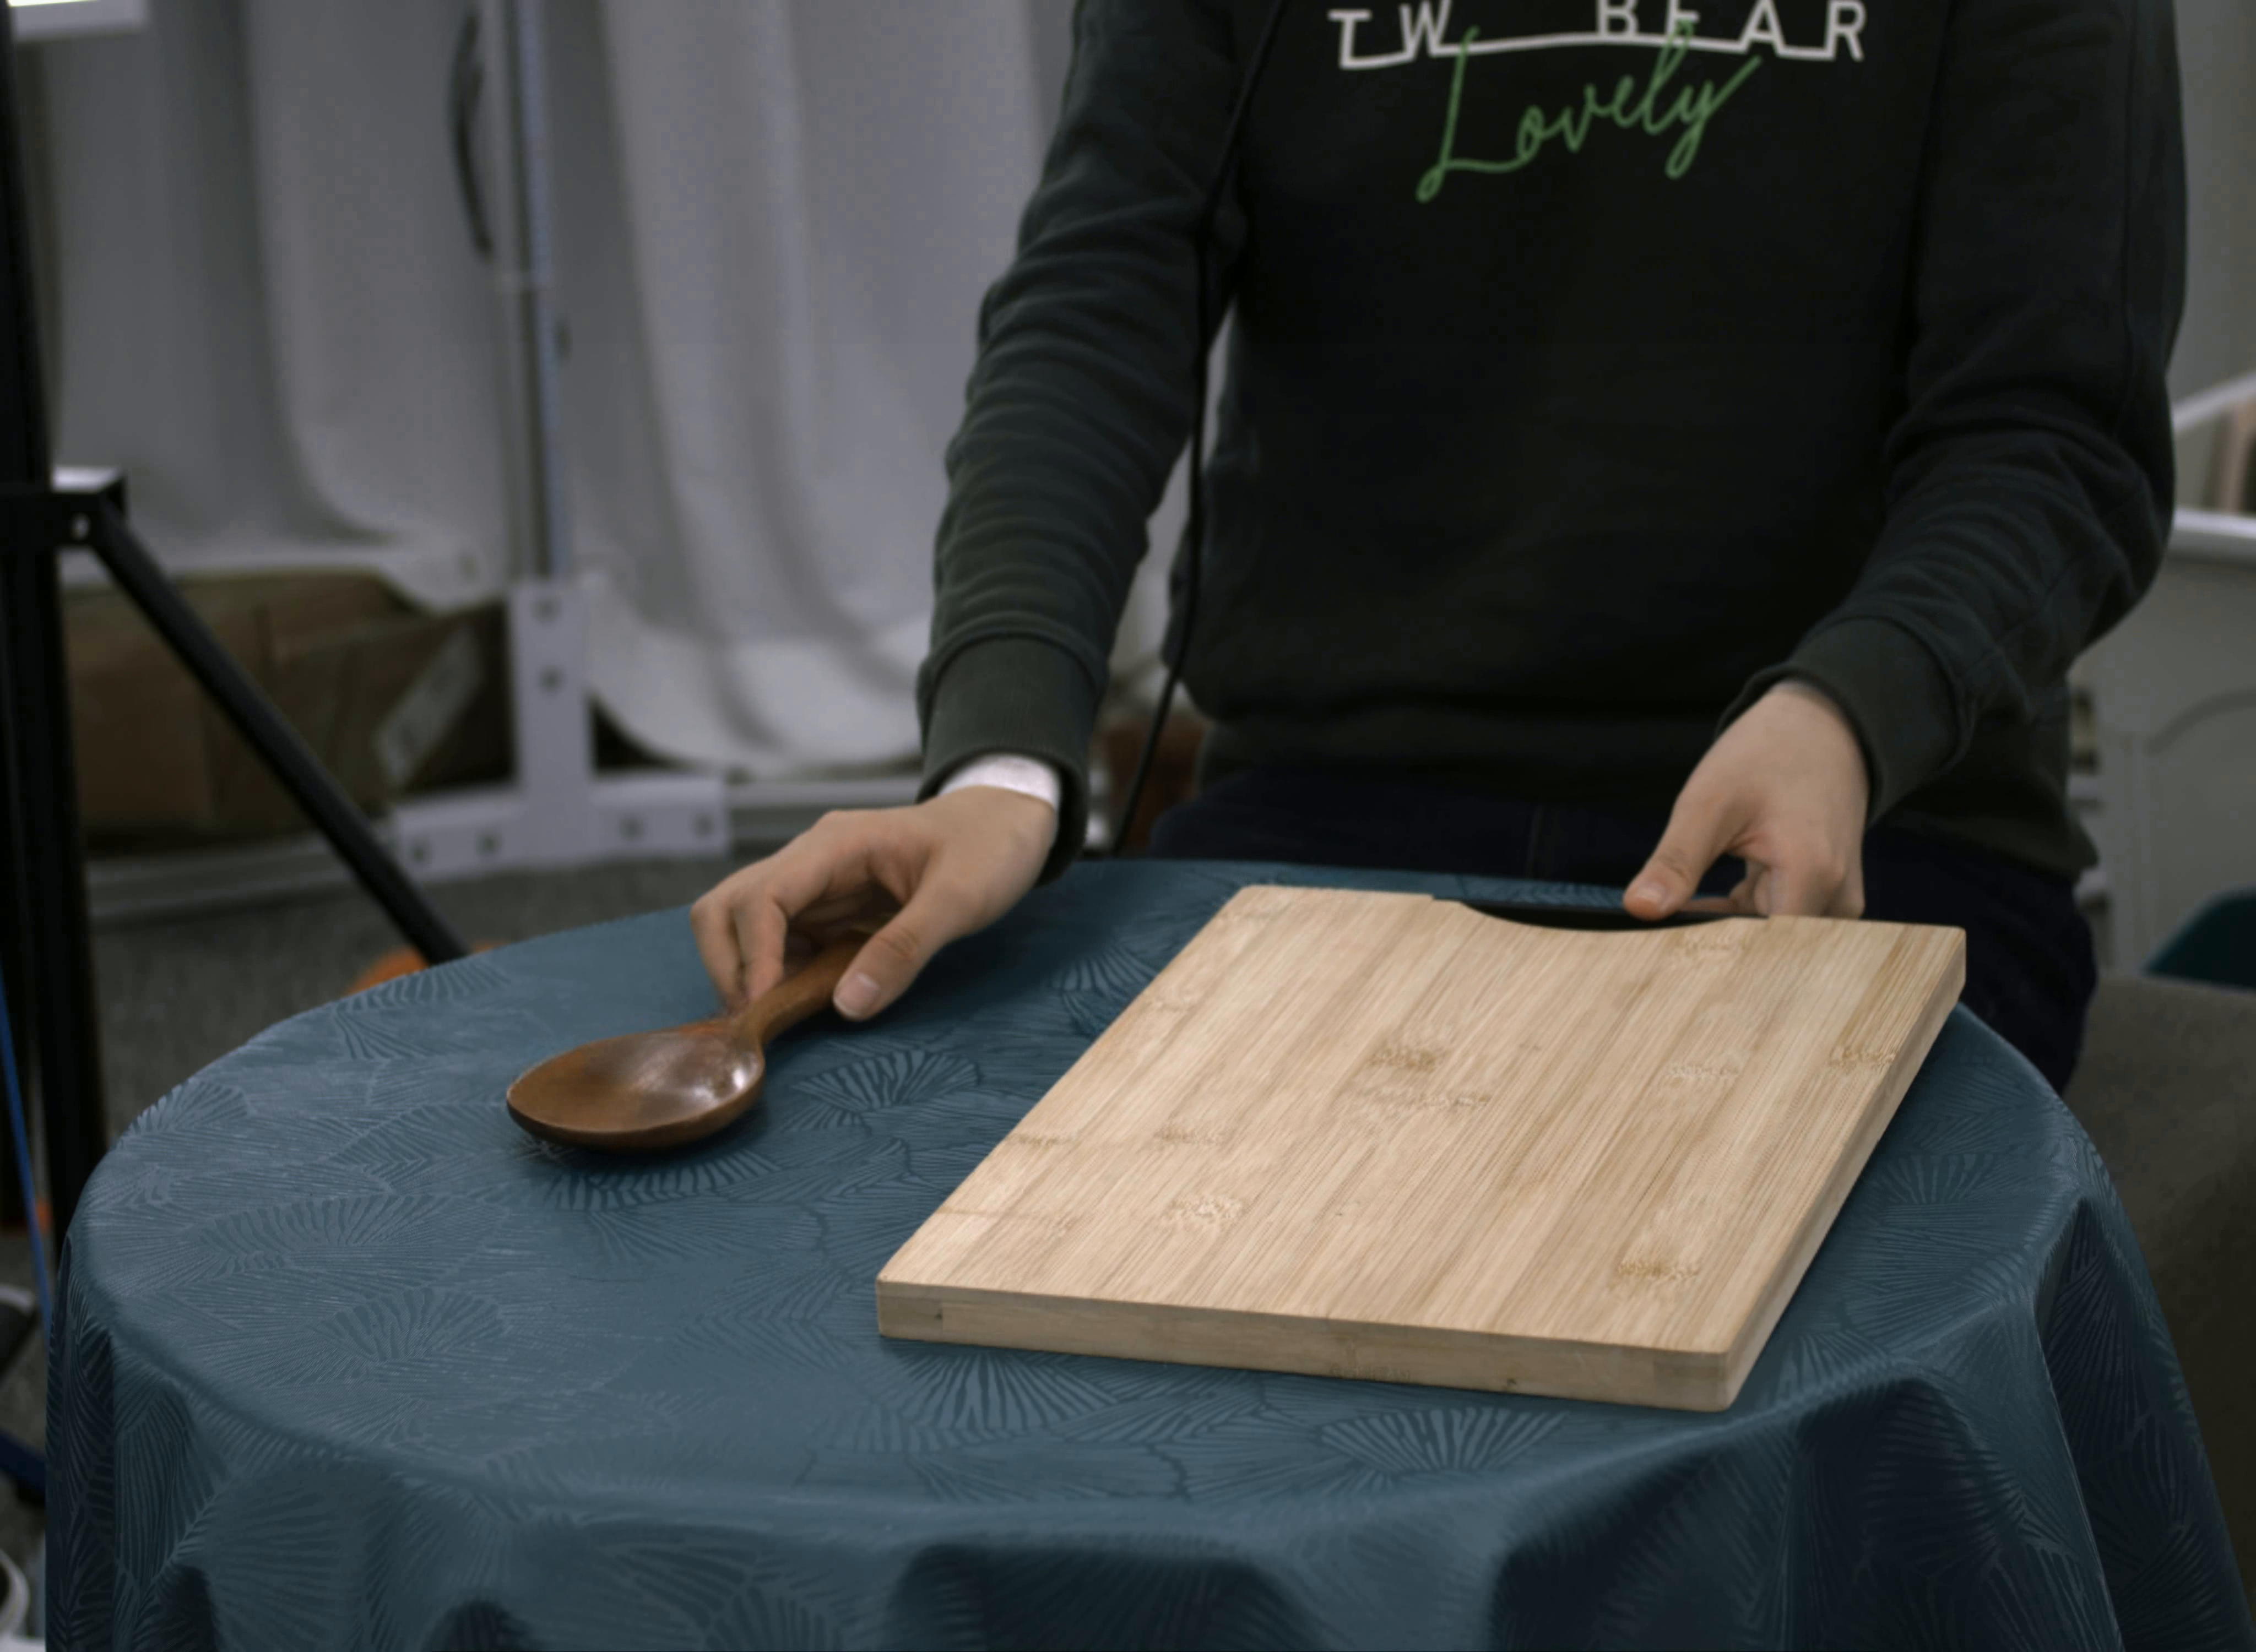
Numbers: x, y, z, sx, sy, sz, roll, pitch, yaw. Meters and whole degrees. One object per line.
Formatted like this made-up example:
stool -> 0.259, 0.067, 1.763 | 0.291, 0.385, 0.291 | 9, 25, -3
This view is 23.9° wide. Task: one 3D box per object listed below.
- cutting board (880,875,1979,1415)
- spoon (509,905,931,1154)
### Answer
cutting board -> 0.100, 0.085, 1.566 | 0.253, 0.023, 0.345 | 3, 19, 19
spoon -> -0.120, 0.066, 1.686 | 0.077, 0.017, 0.212 | 5, 20, 27
